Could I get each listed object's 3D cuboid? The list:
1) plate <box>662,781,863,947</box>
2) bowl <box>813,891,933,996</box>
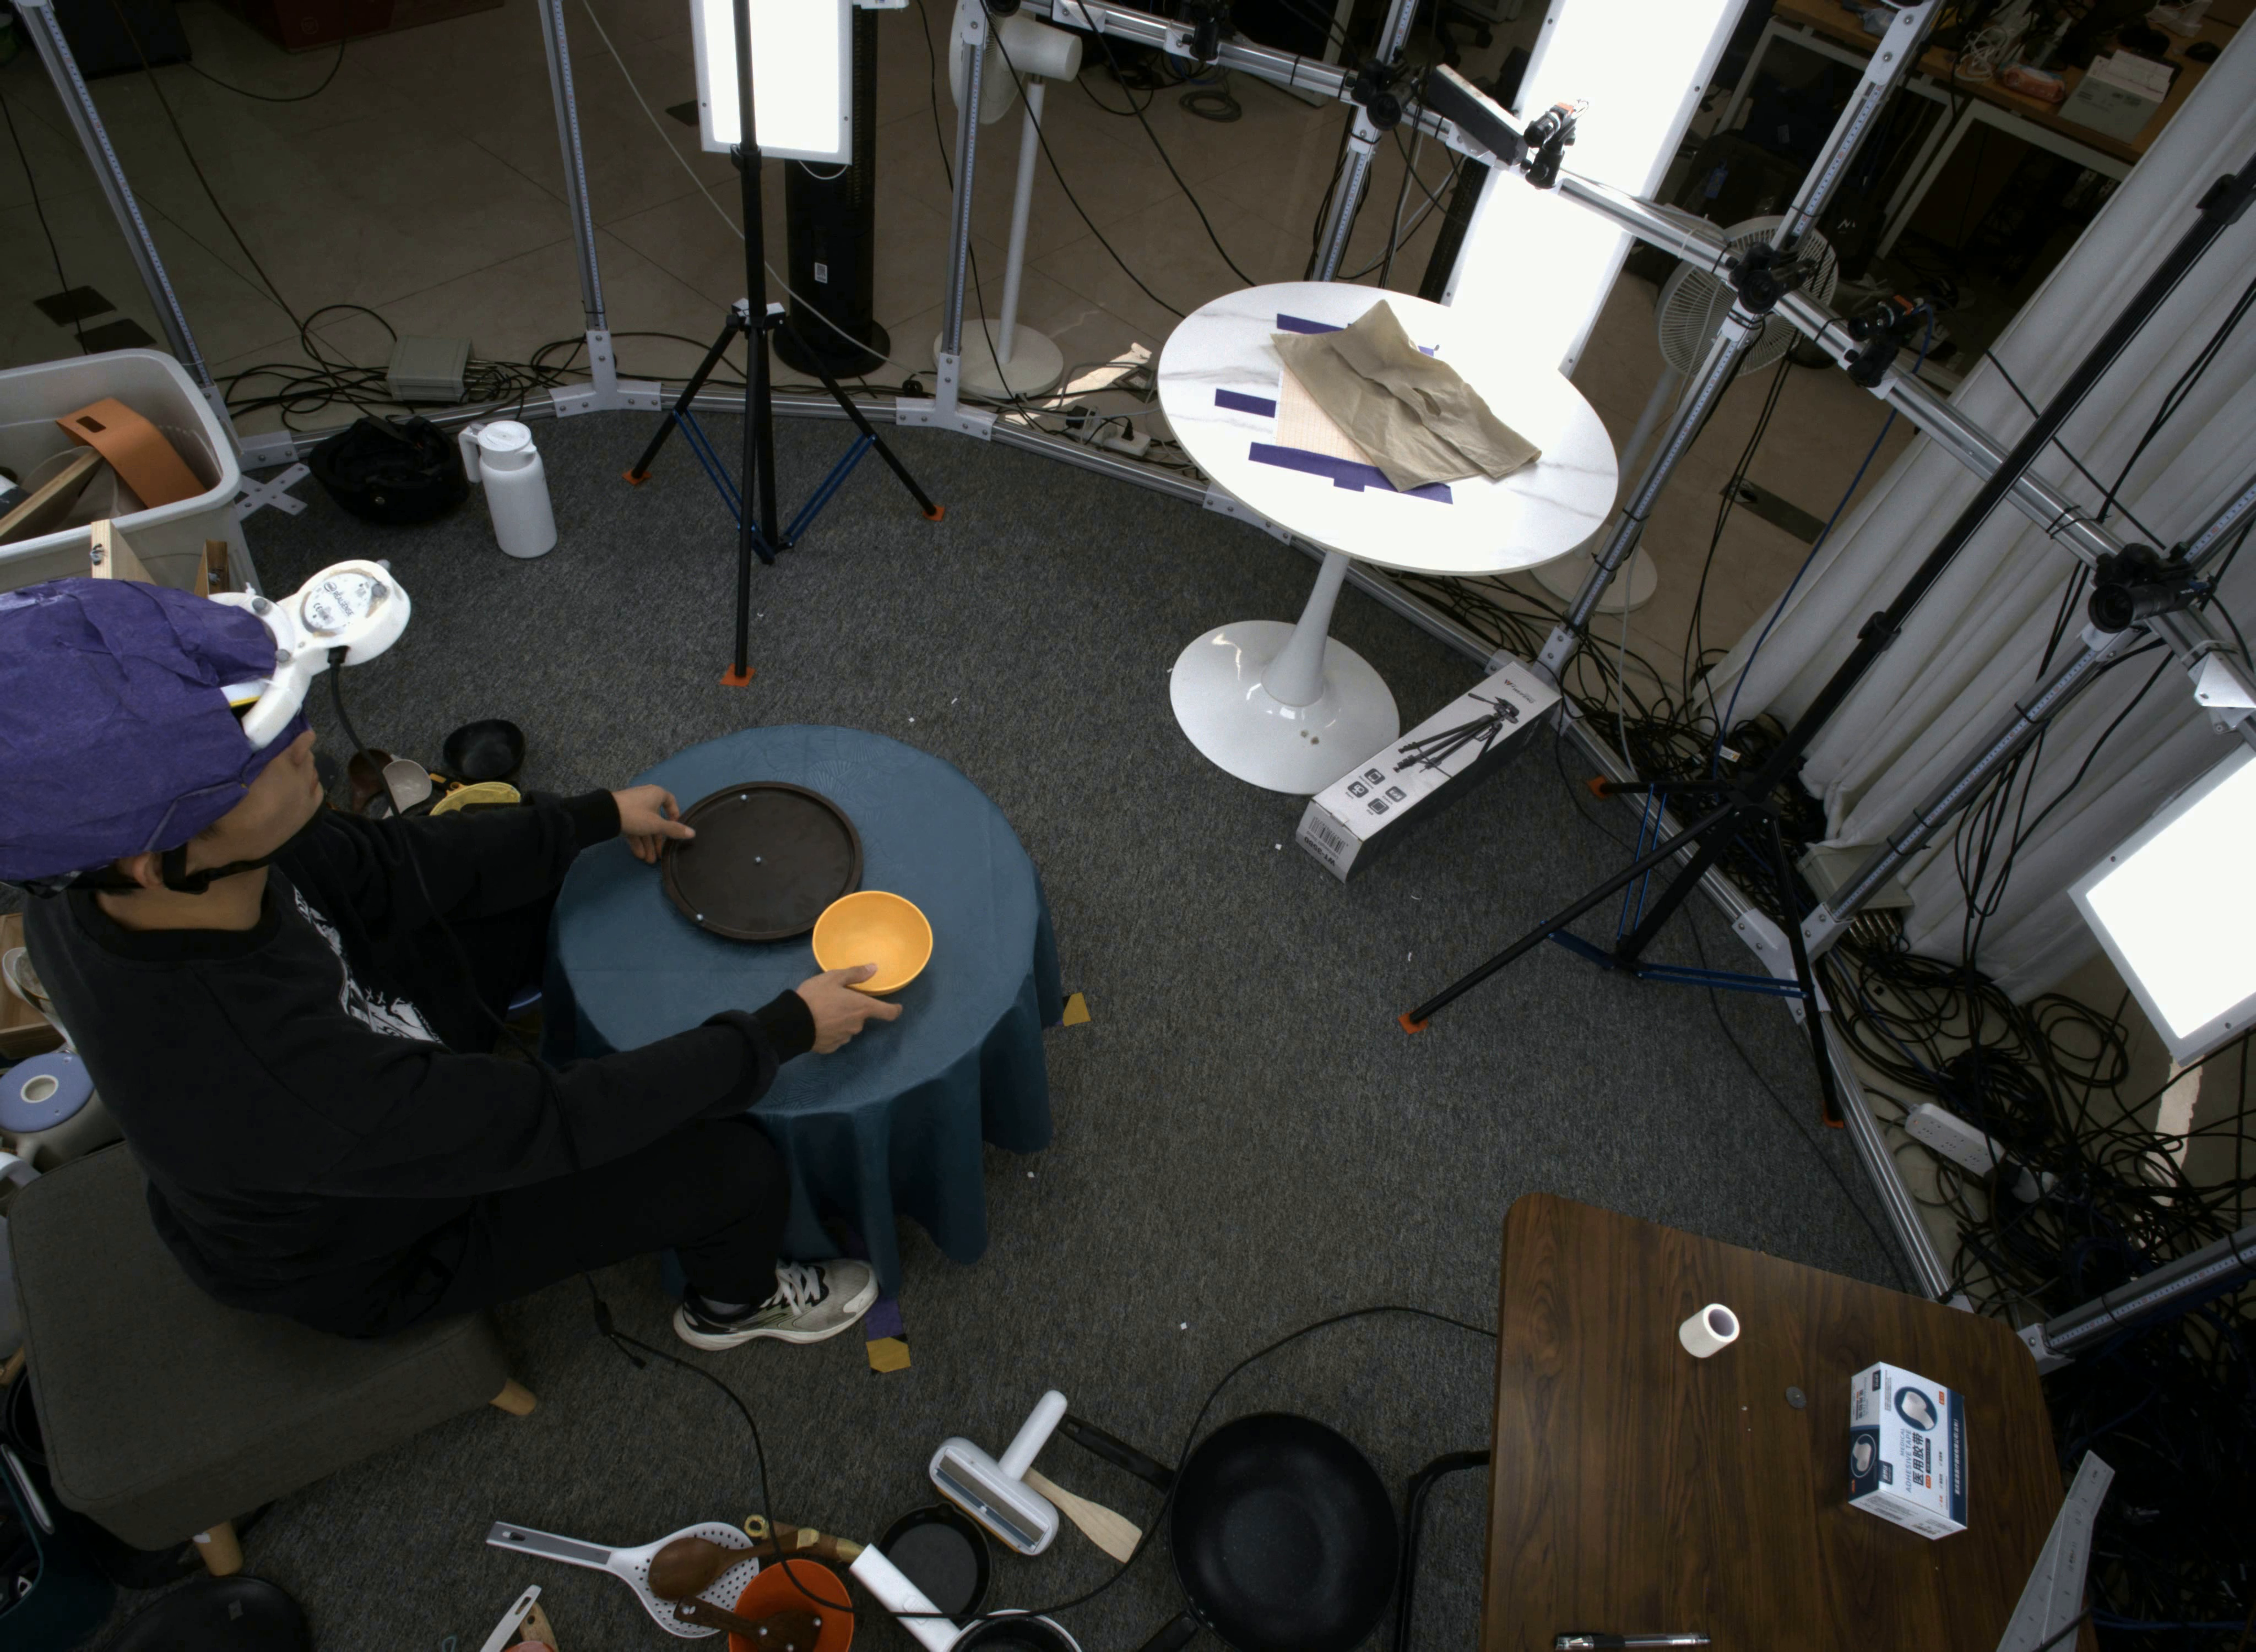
[{"bbox_3d":[-0.470,0.046,1.670,0.255,0.029,0.250,9,54,-11],"label":"plate"},{"bbox_3d":[-0.314,0.154,1.607,0.144,0.061,0.143,6,53,-6],"label":"bowl"}]
